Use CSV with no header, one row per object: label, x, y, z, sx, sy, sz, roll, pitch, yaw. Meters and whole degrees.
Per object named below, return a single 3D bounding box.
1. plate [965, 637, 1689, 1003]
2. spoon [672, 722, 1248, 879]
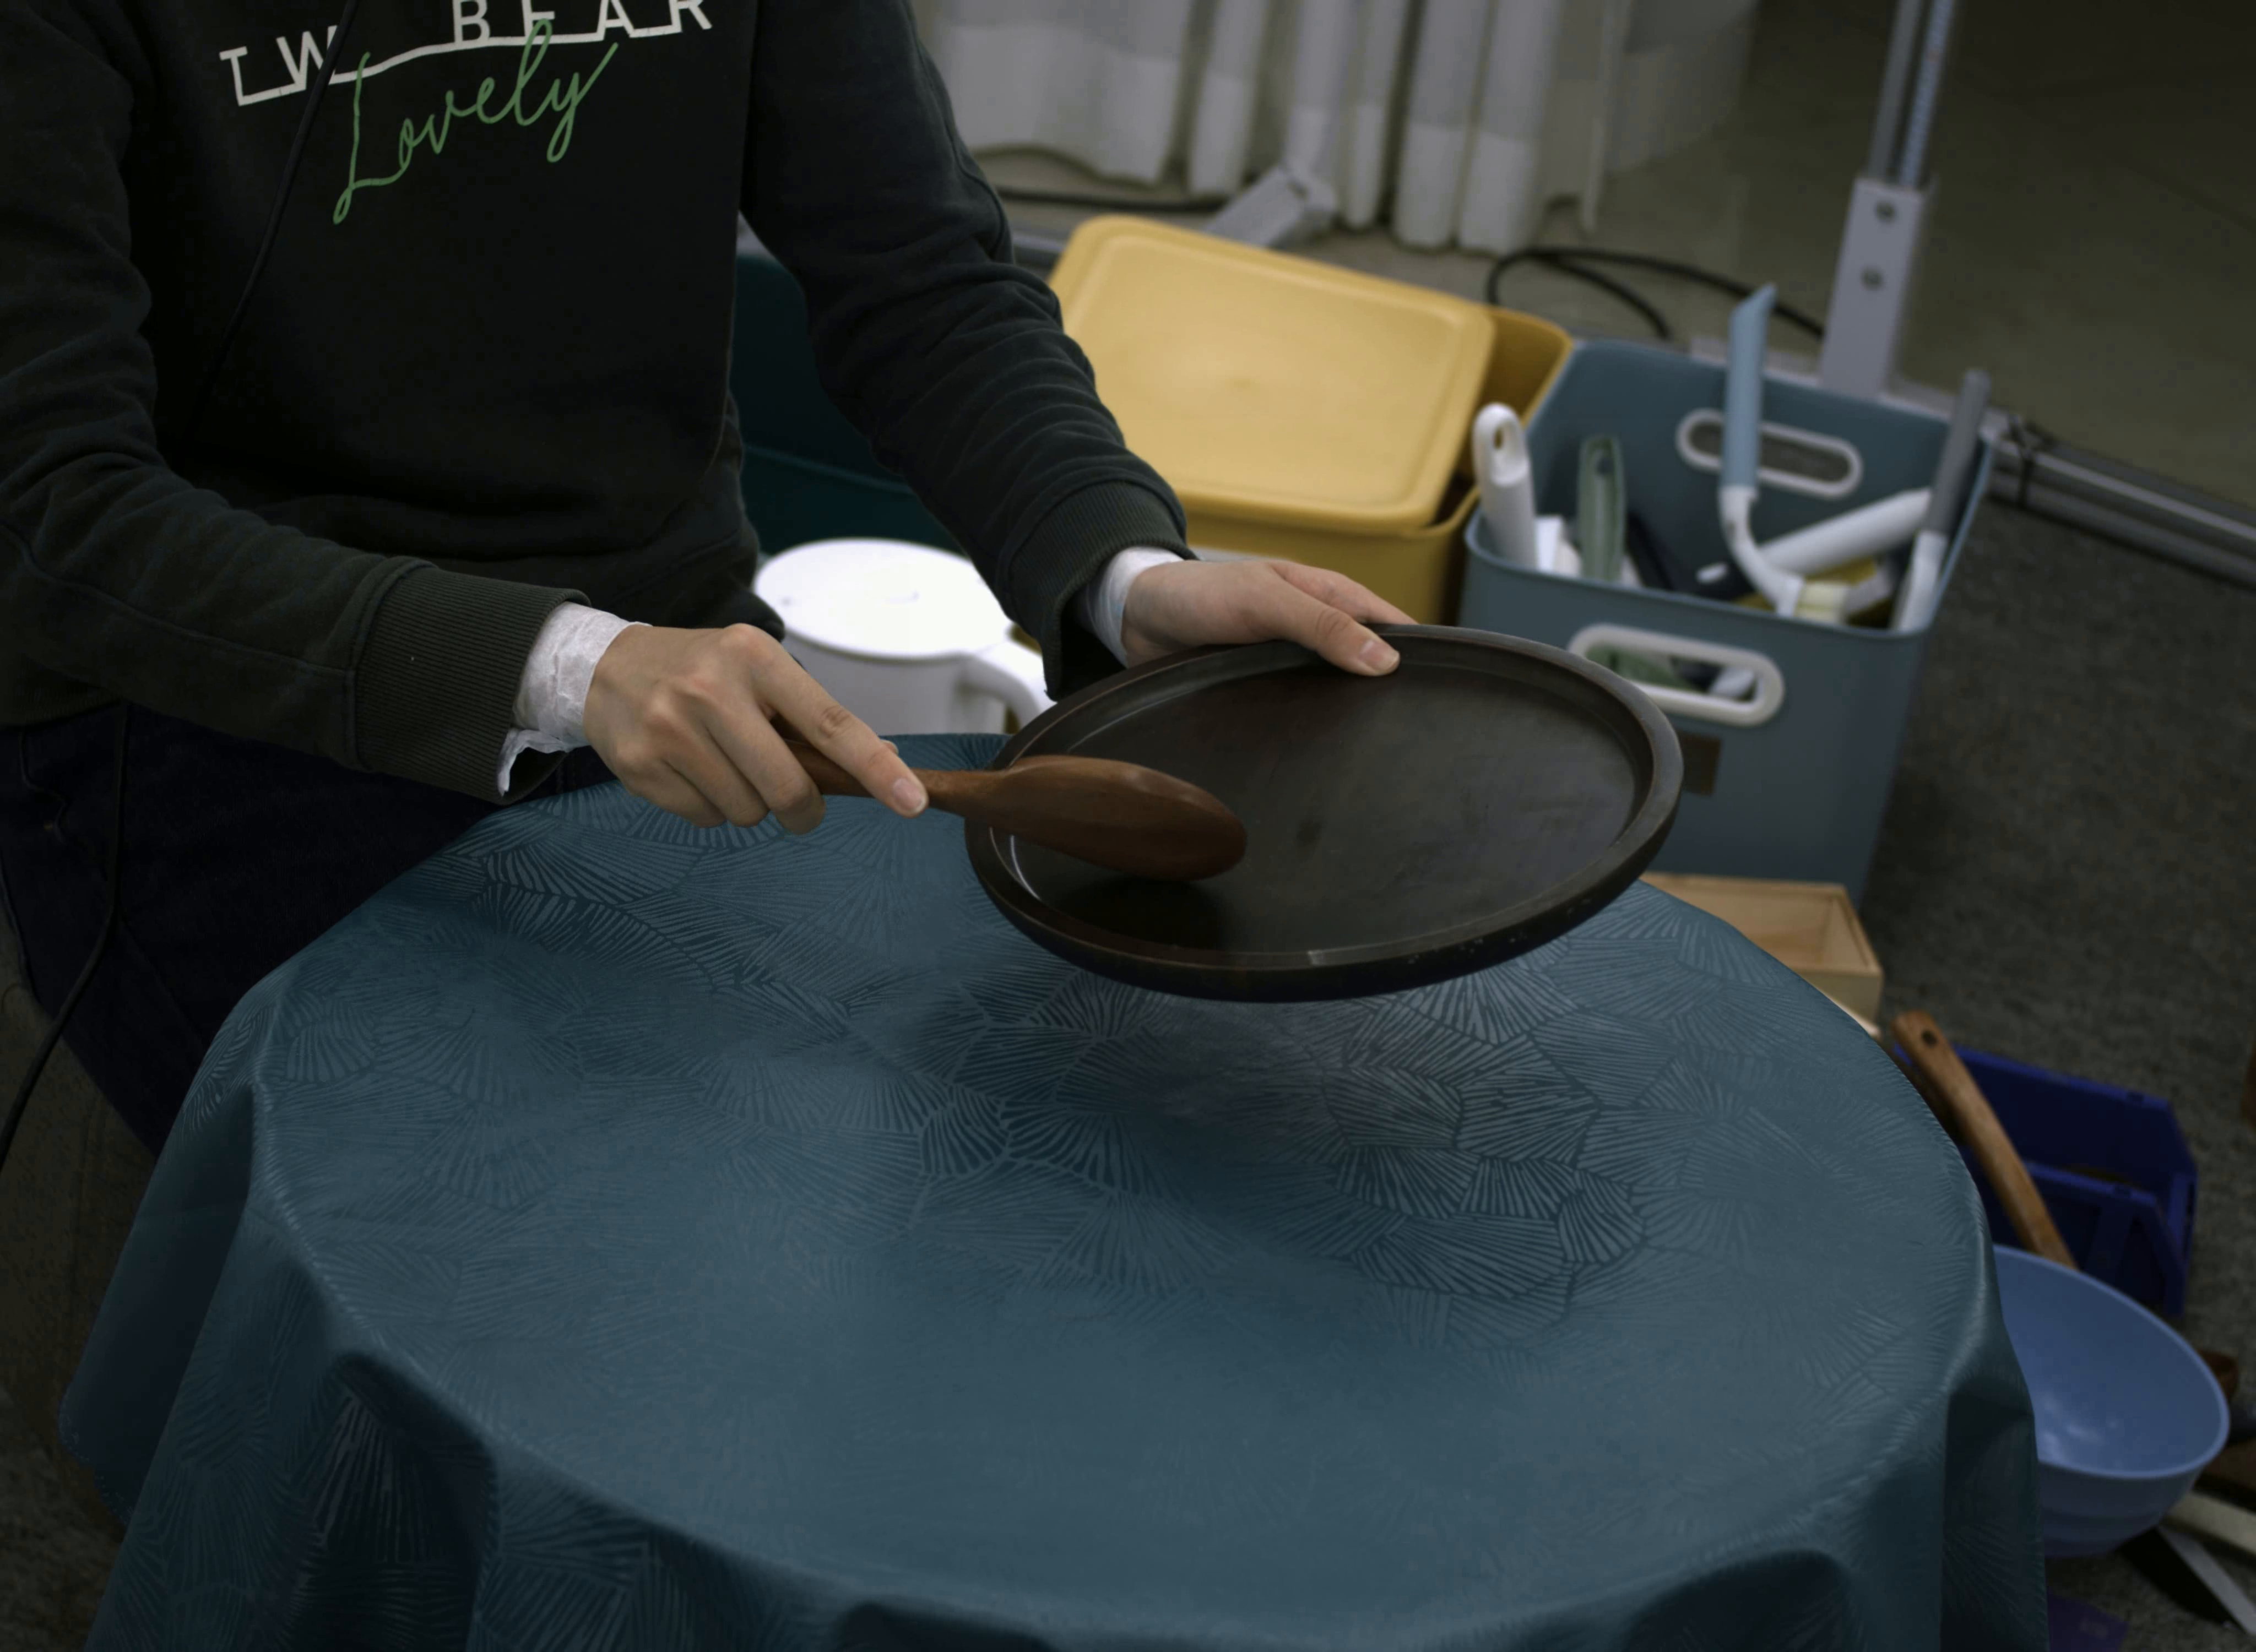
plate,0.069,-0.005,1.860,0.254,0.029,0.256,-5,28,2
spoon,-0.061,-0.010,1.829,0.216,0.075,0.017,10,68,23
